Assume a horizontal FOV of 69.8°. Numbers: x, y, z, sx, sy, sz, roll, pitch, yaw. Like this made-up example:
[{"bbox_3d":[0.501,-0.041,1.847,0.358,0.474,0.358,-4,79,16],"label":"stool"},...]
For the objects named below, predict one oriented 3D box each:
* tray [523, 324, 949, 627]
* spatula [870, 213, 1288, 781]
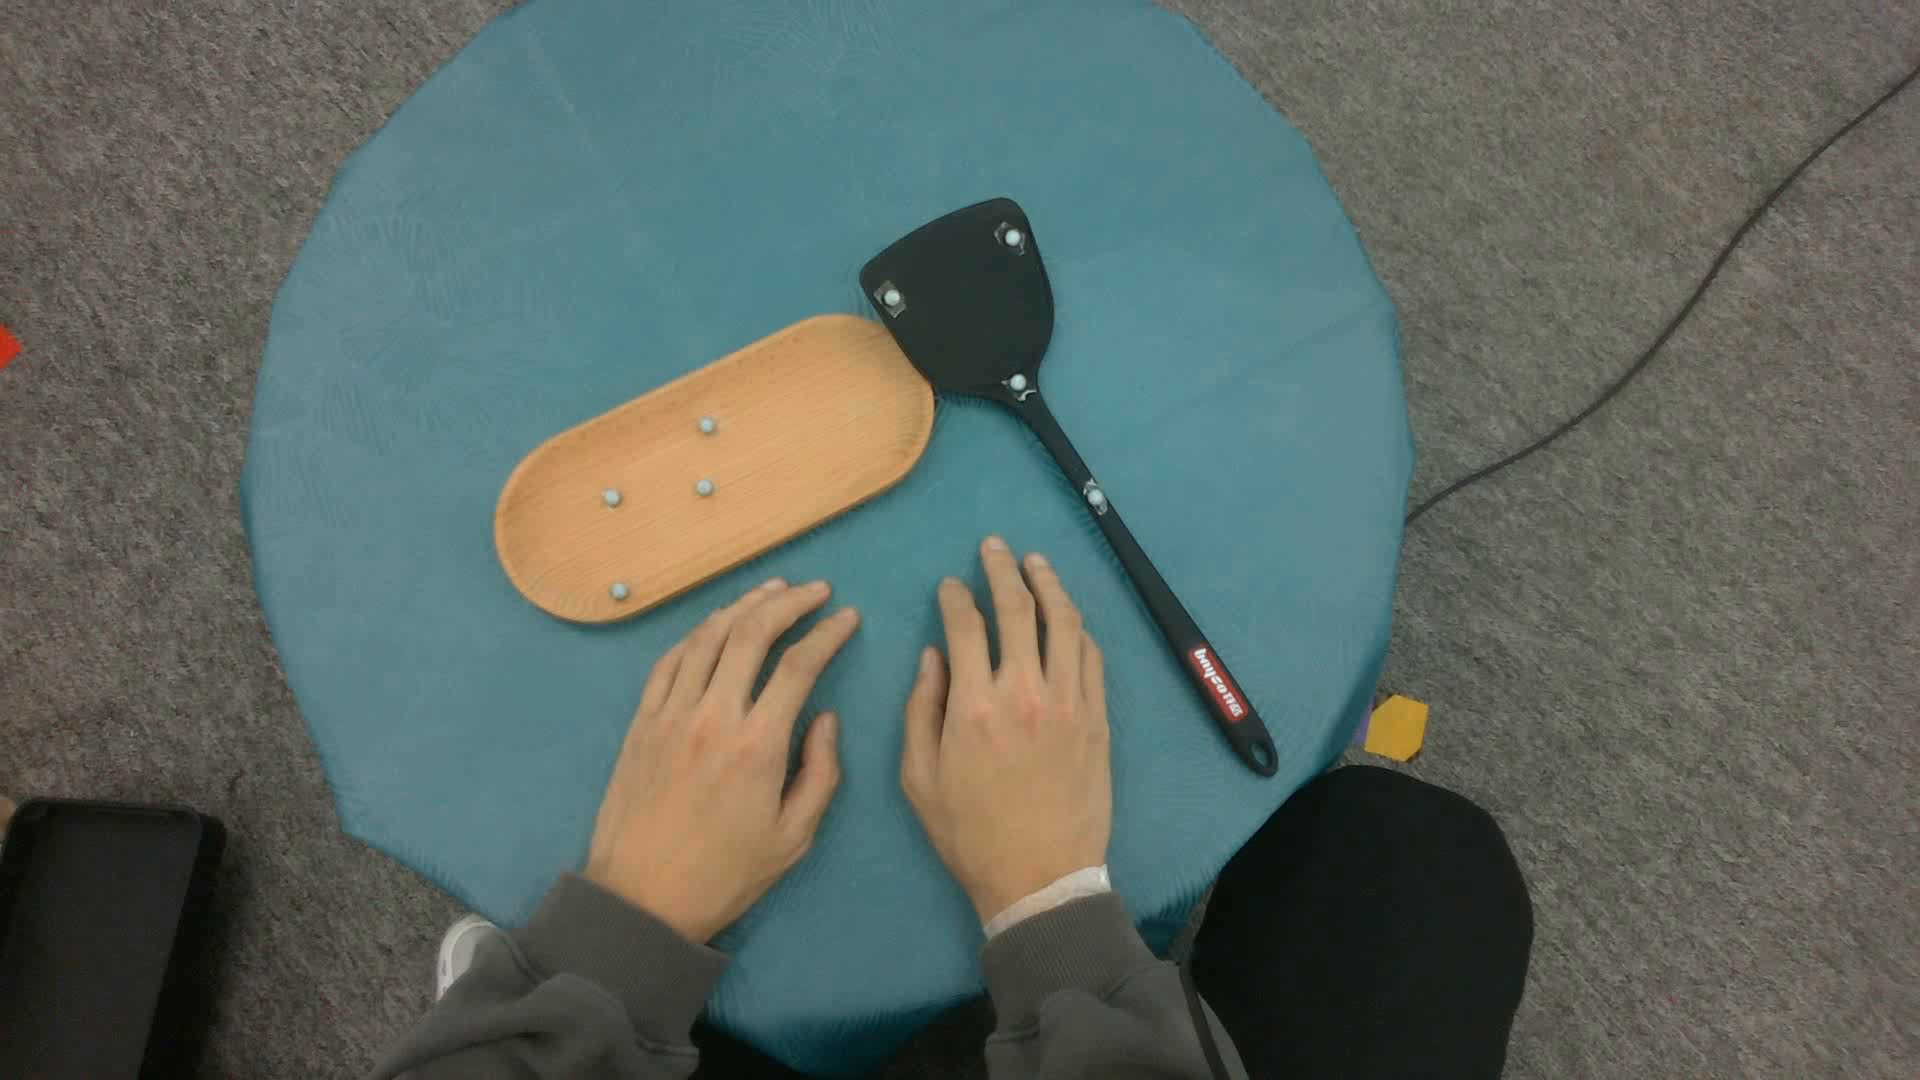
[{"bbox_3d":[-0.114,-0.034,0.714,0.231,0.020,0.102,-27,77,-9],"label":"tray"},{"bbox_3d":[0.074,-0.019,0.703,0.100,0.040,0.326,-30,77,-14],"label":"spatula"}]
